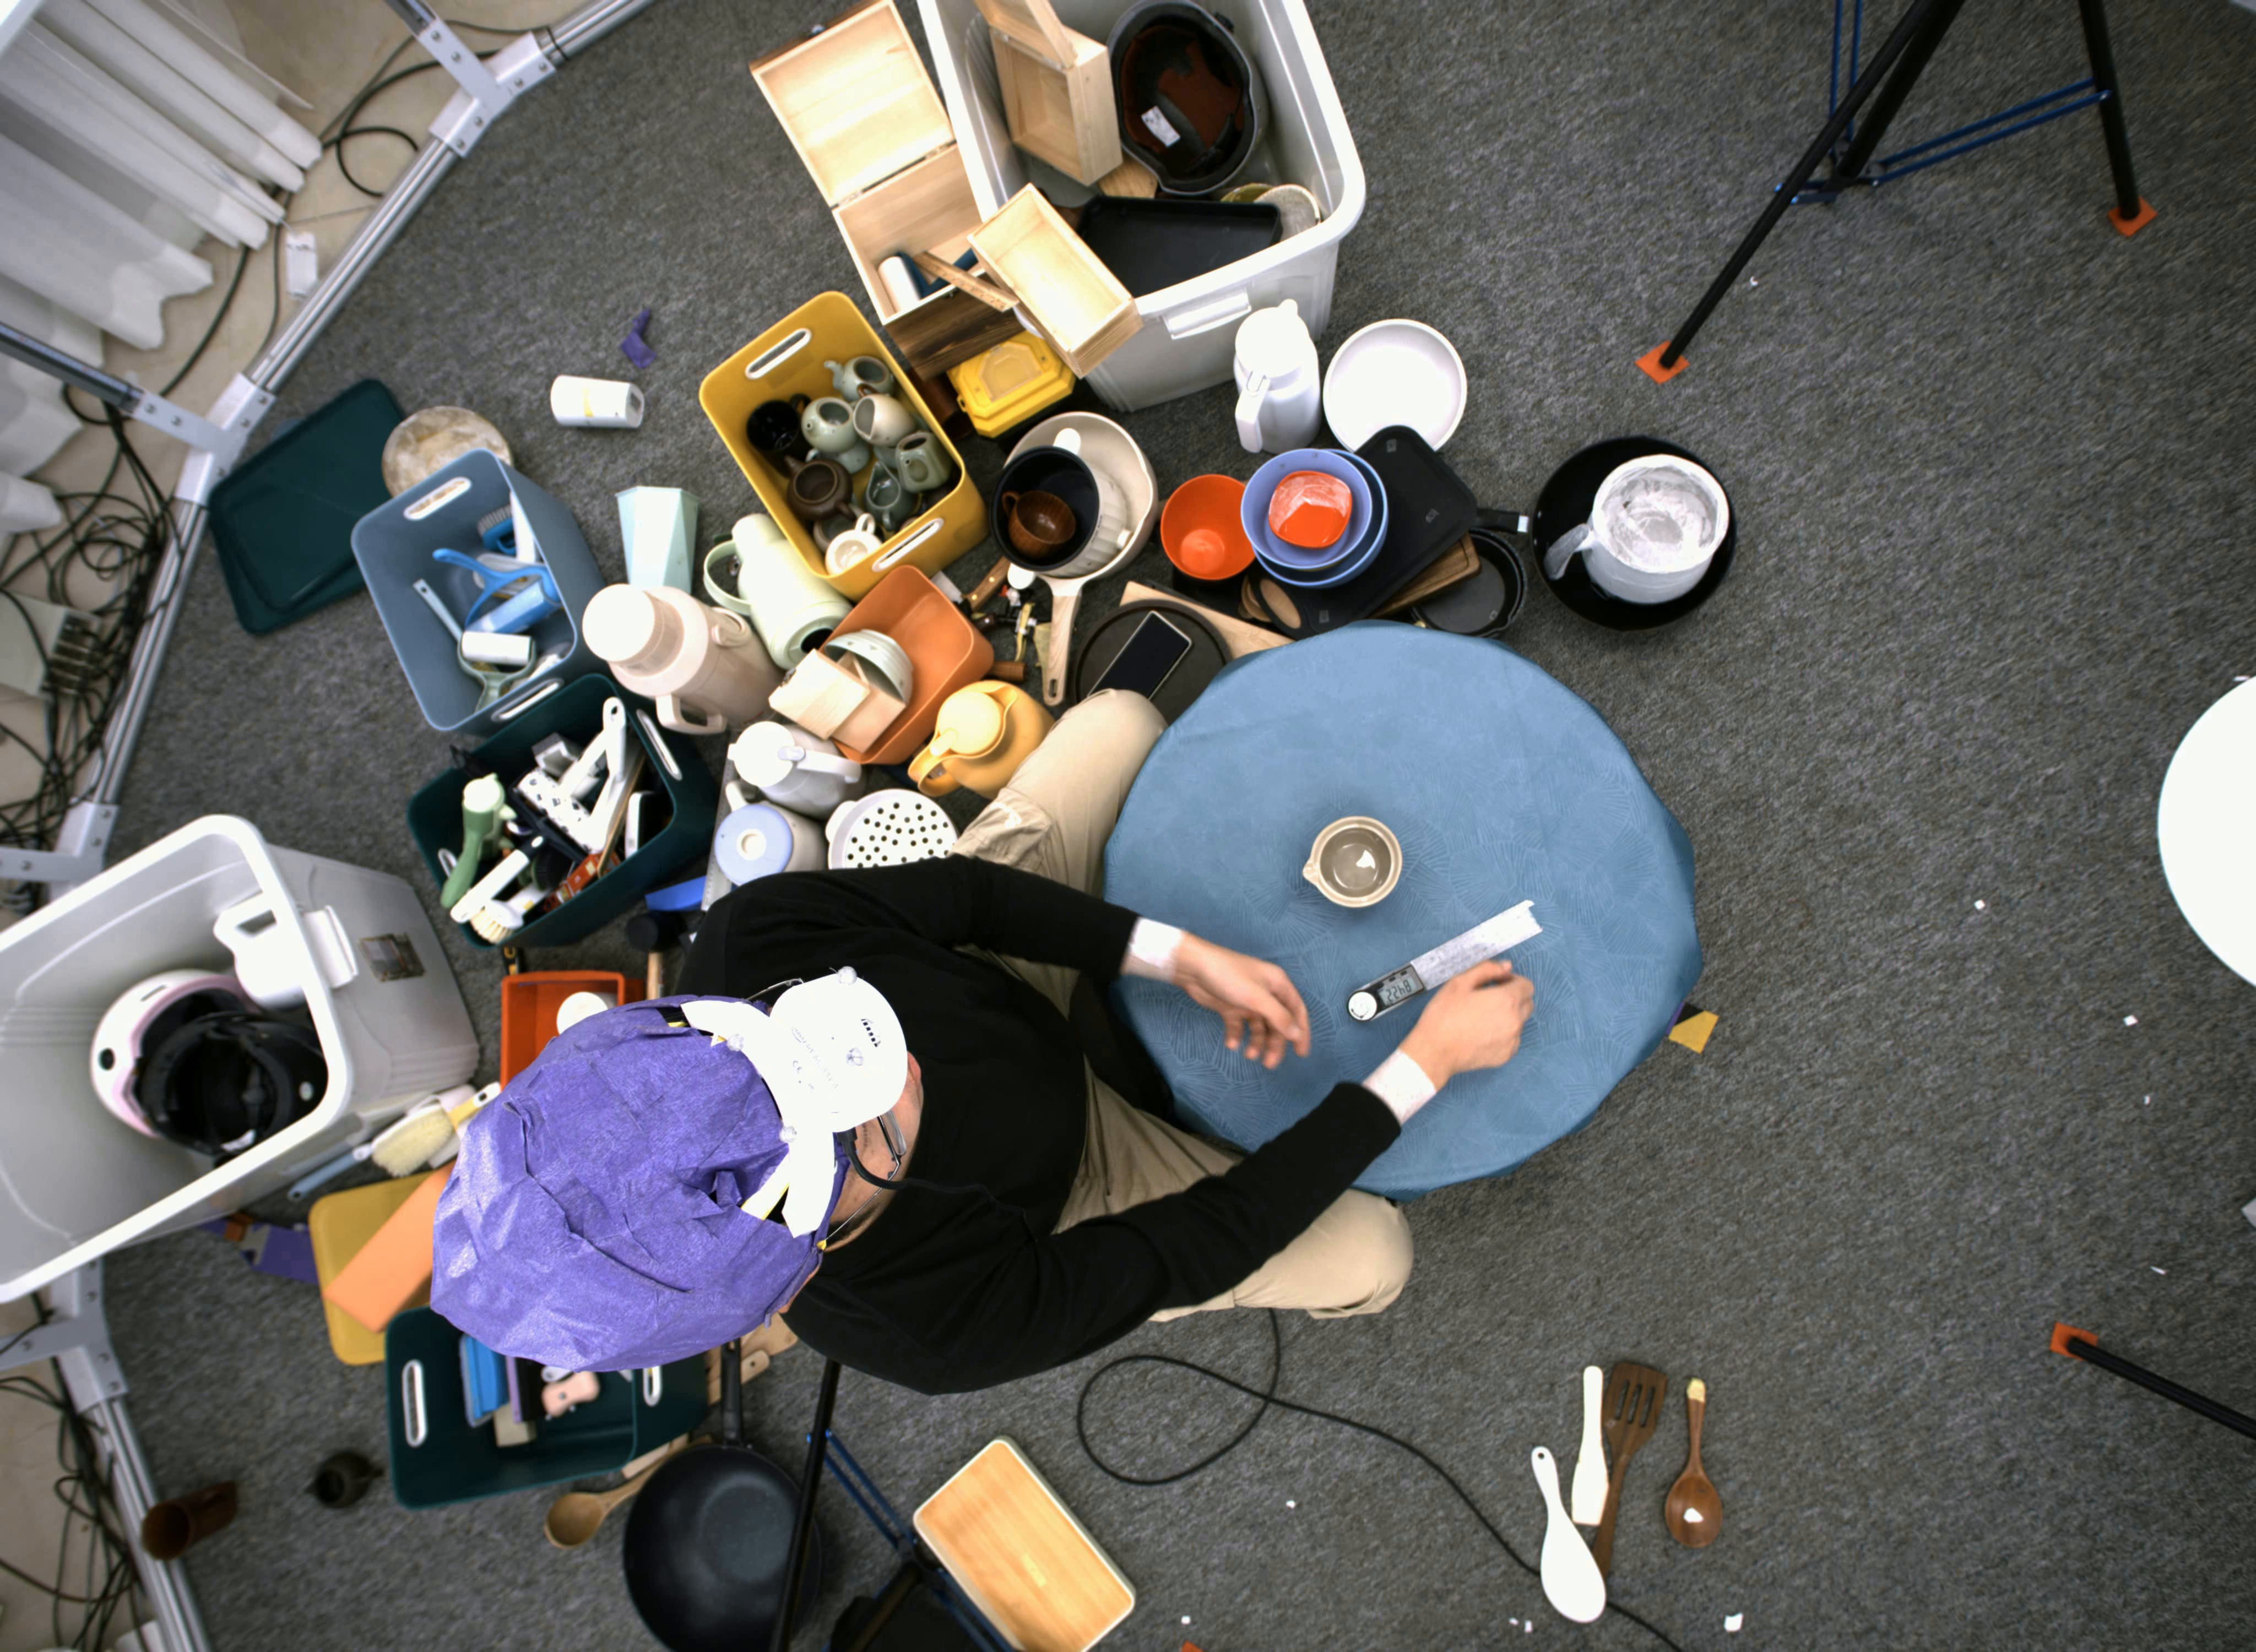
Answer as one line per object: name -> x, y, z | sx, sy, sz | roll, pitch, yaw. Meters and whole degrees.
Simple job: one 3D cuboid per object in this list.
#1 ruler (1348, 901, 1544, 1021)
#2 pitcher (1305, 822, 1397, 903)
ruler -> 0.328, 0.142, 1.434 | 0.219, 0.024, 0.038 | -29, 88, 9
pitcher -> 0.231, 0.039, 1.432 | 0.096, 0.071, 0.083 | -14, 84, 8
